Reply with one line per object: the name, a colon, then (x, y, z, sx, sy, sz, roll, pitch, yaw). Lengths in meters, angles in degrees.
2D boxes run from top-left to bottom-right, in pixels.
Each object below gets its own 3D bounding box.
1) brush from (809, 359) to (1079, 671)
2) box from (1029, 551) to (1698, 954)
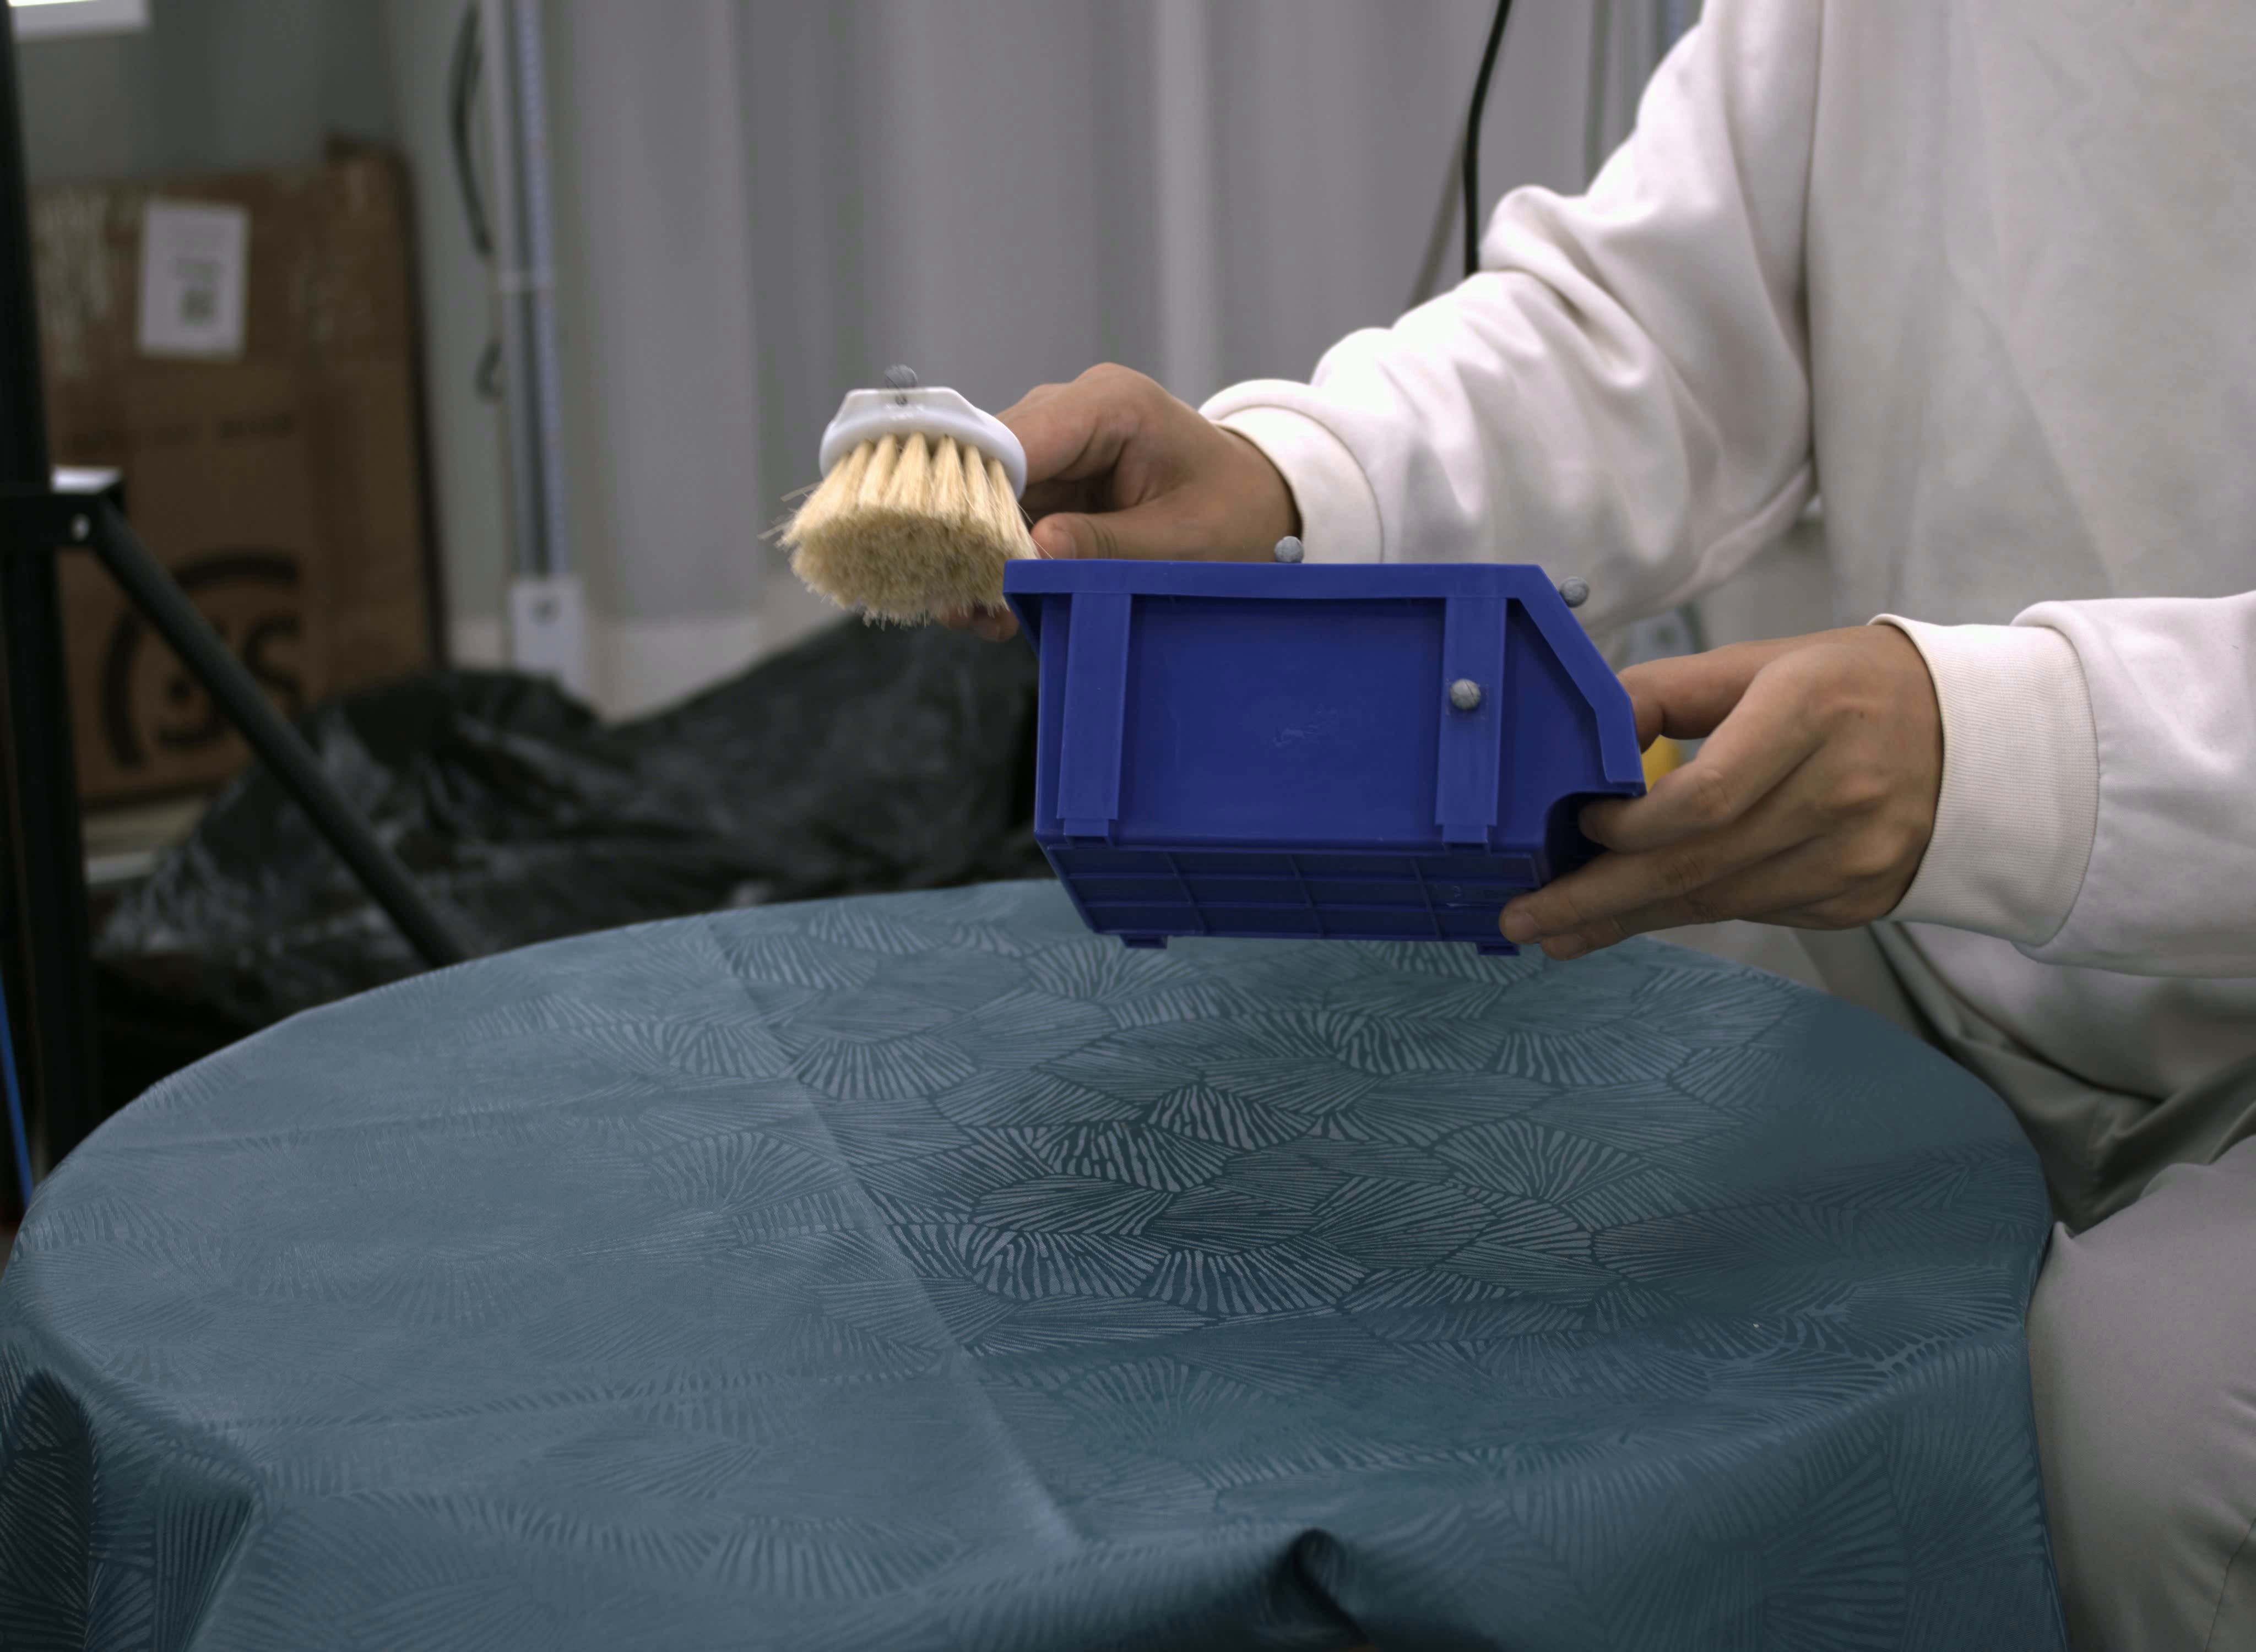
brush: (-0.037, -0.068, 1.608, 0.069, 0.056, 0.263, 12, -15, 13)
box: (0.069, -0.018, 1.503, 0.180, 0.082, 0.123, -1, -18, 10)
